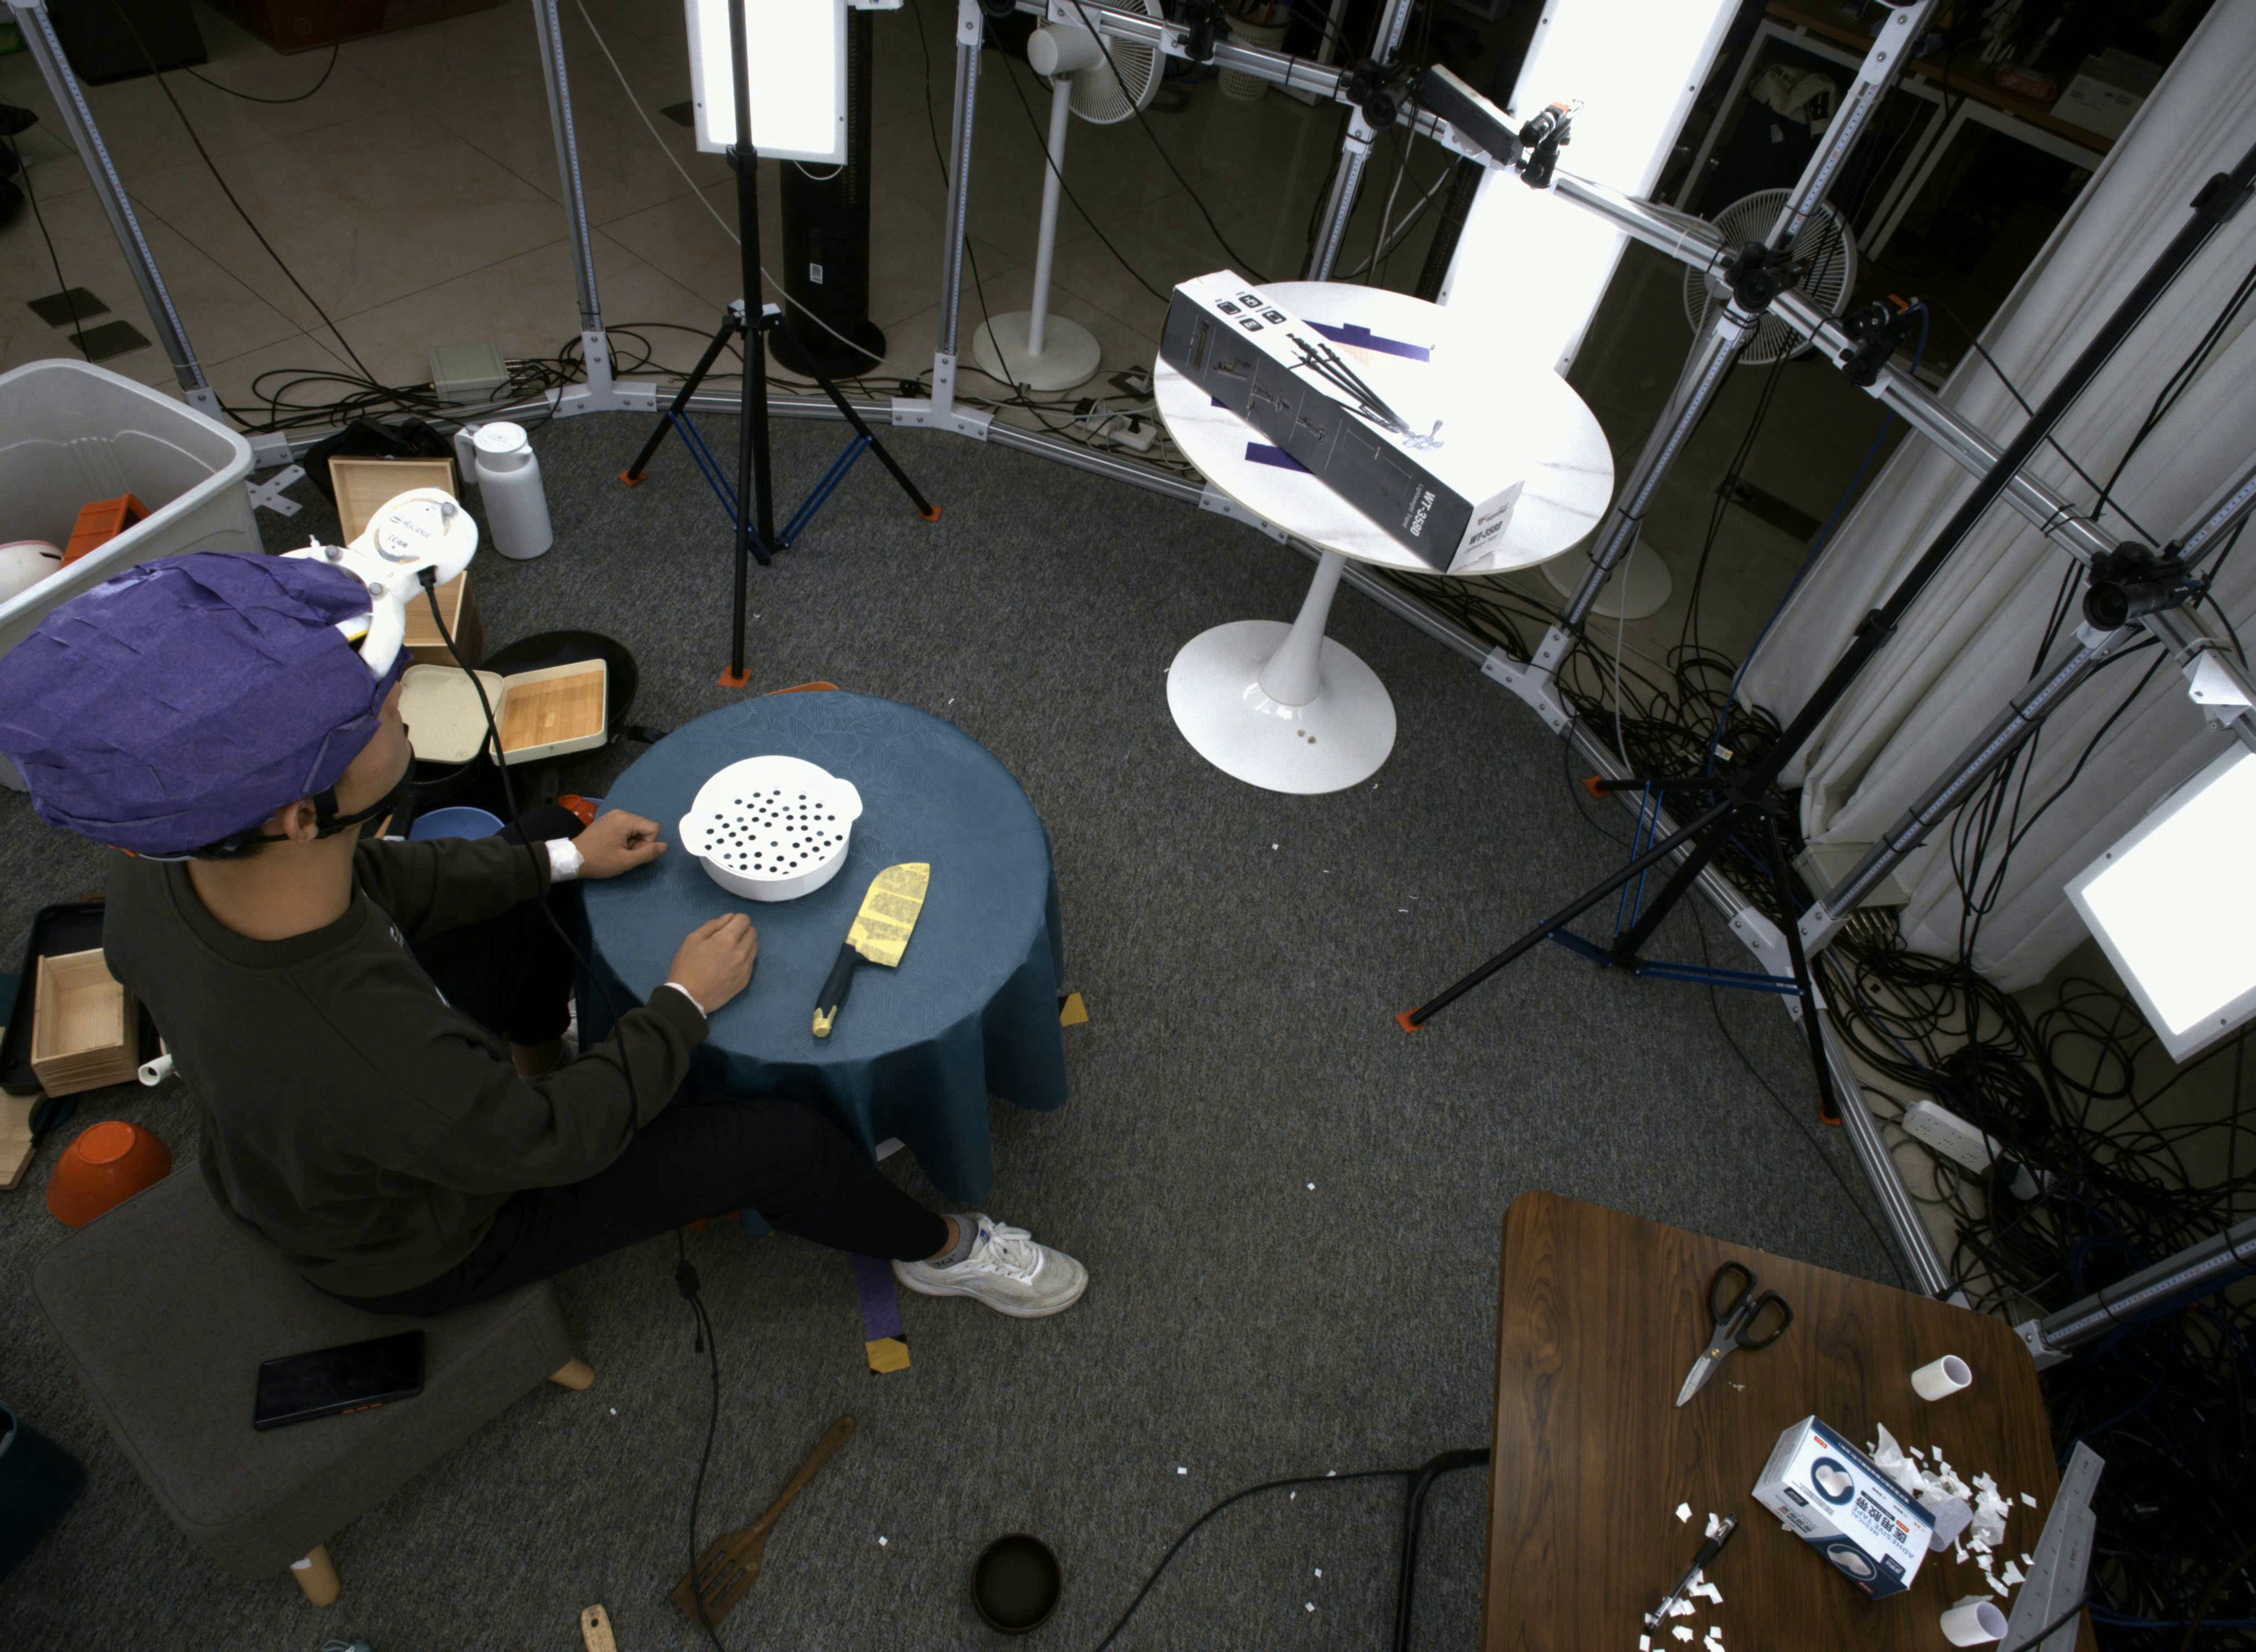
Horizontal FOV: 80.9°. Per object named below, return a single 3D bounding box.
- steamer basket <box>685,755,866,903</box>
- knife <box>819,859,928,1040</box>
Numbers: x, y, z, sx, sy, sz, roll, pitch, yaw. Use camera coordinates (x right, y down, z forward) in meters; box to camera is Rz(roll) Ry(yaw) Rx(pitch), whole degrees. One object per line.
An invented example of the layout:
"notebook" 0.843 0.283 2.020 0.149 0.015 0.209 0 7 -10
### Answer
"steamer basket" -0.454 0.003 1.682 0.231 0.071 0.197 -15 58 -22
"knife" -0.319 0.148 1.643 0.080 0.028 0.286 18 51 1
